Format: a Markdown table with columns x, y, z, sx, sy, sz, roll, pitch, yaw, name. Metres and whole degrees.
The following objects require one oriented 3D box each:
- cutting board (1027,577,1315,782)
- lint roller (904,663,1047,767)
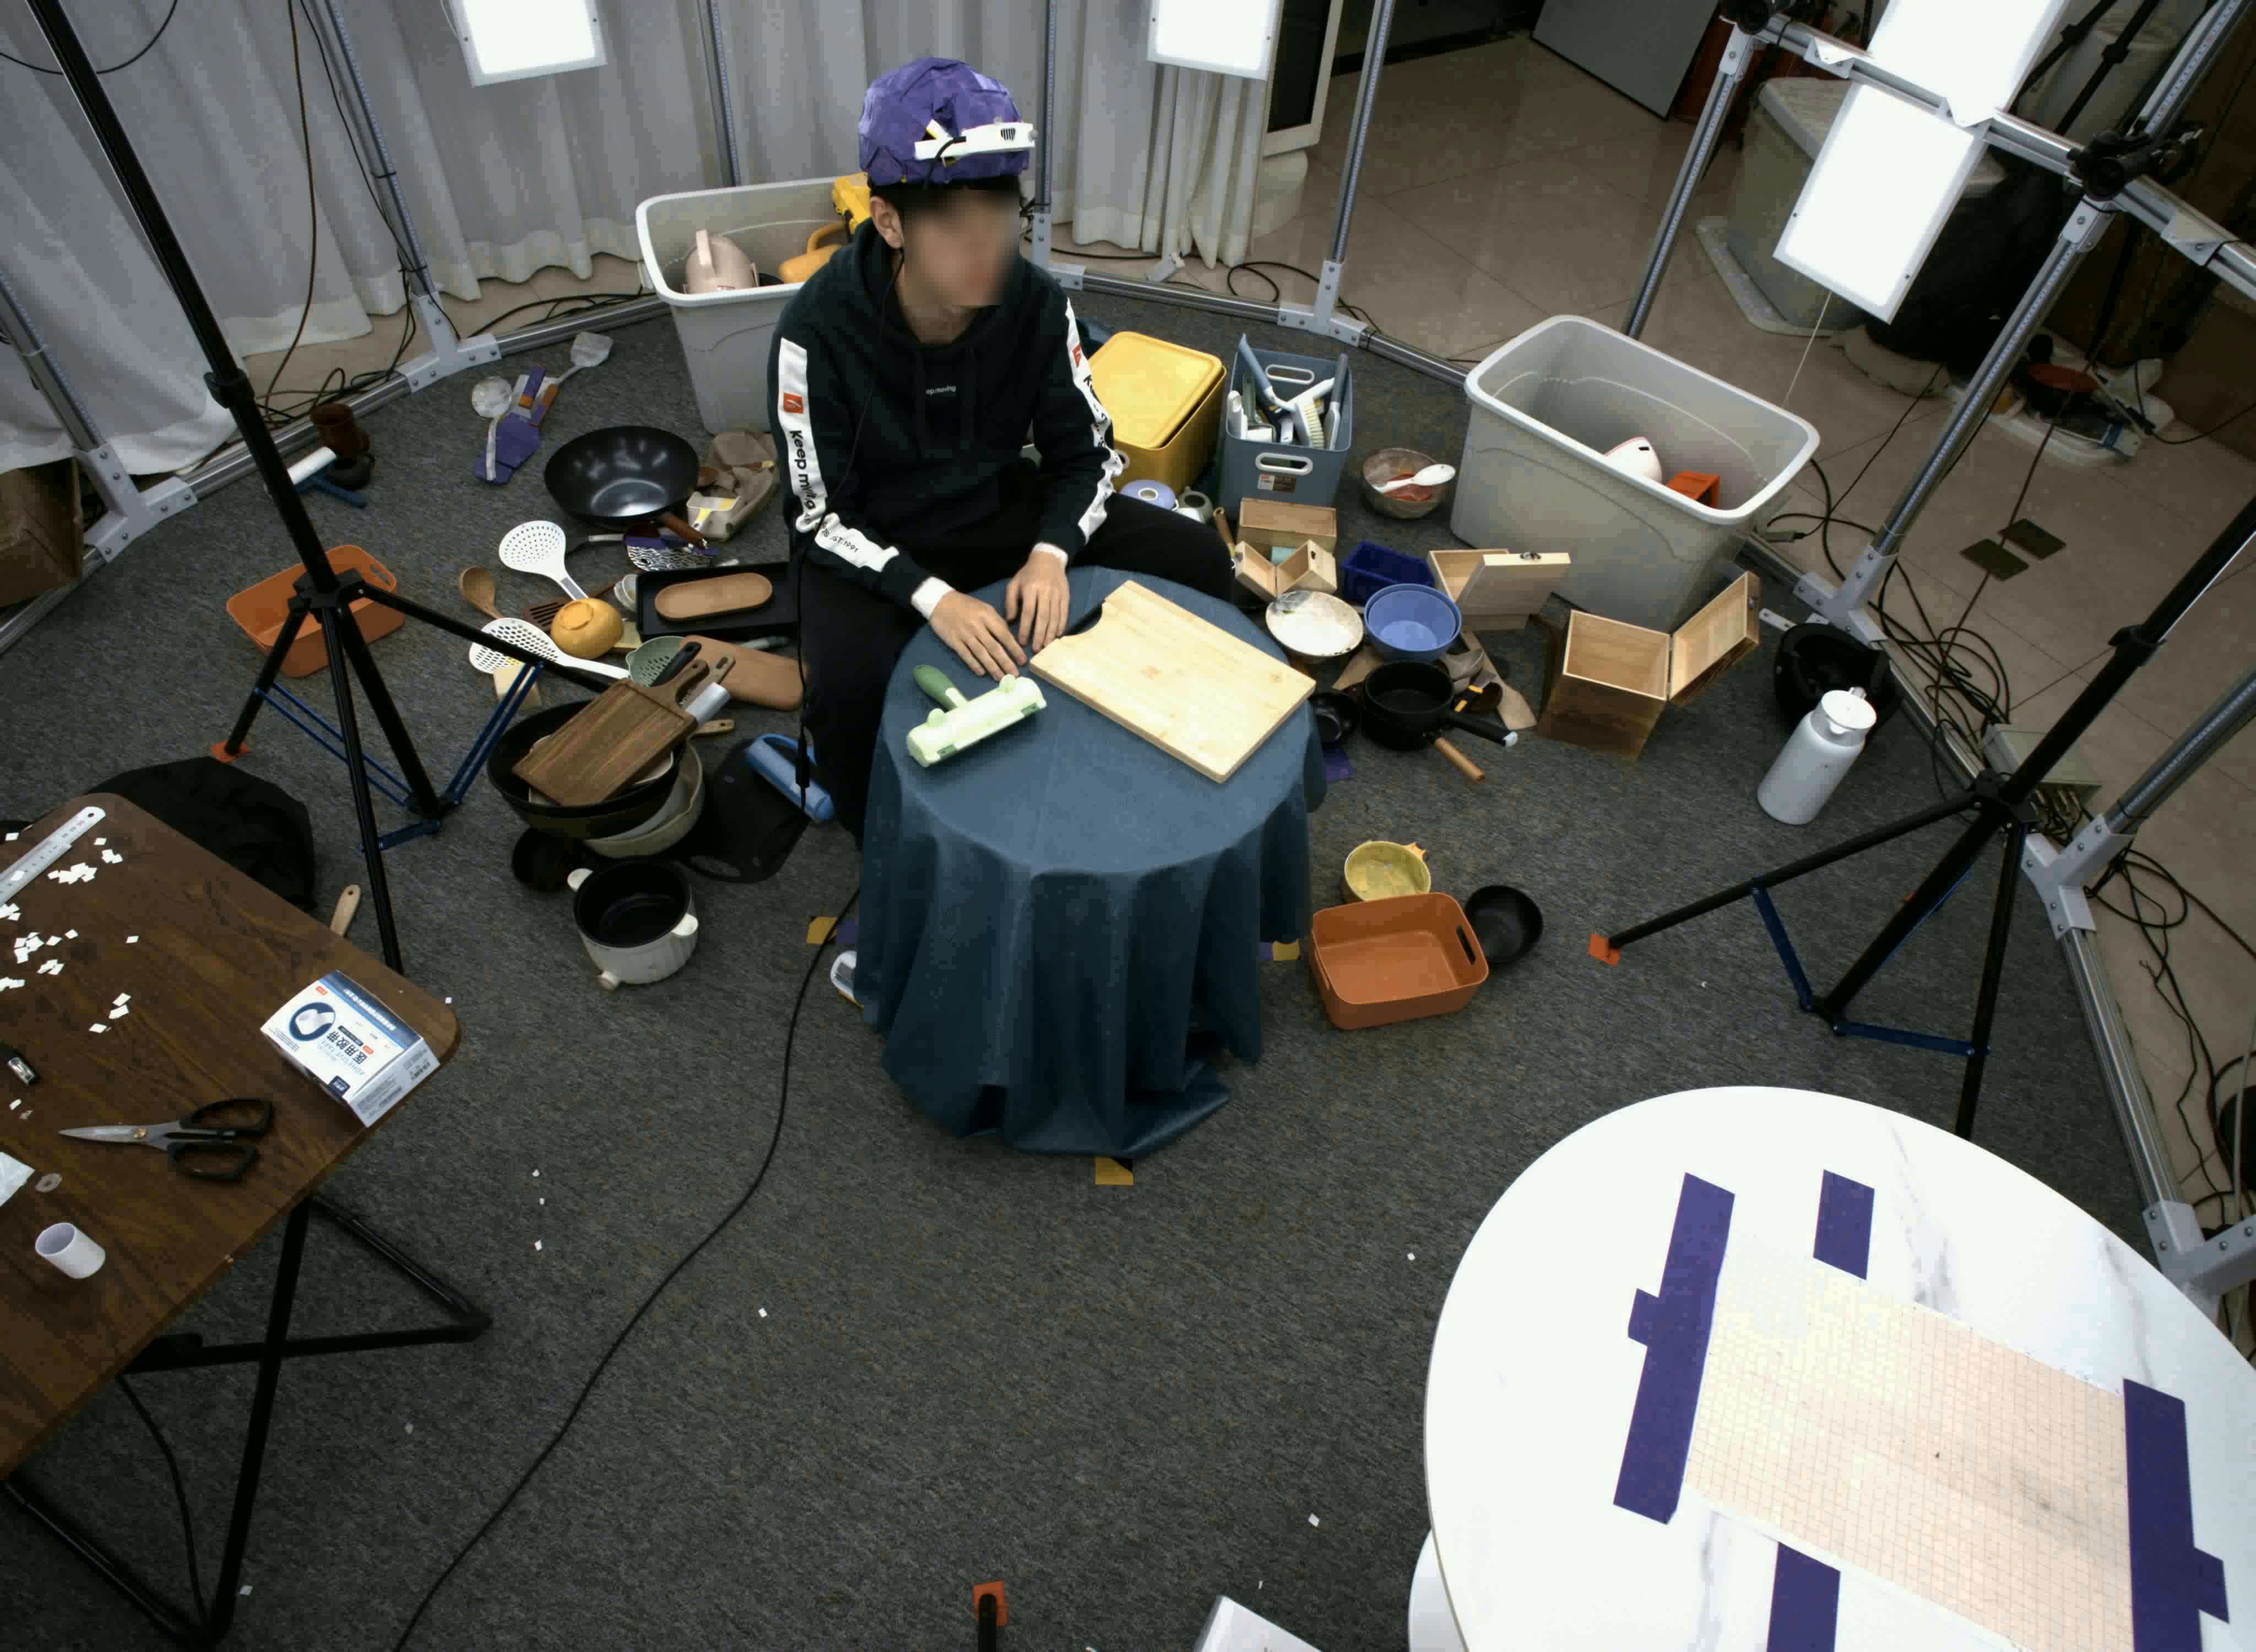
| x | y | z | sx | sy | sz | roll | pitch | yaw | name |
| --- | --- | --- | --- | --- | --- | --- | --- | --- | --- |
| 0.061 | -0.219 | 1.852 | 0.352 | 0.023 | 0.254 | 31 | 54 | 21 | cutting board |
| -0.240 | -0.184 | 1.762 | 0.200 | 0.080 | 0.186 | -29 | 61 | -26 | lint roller |
